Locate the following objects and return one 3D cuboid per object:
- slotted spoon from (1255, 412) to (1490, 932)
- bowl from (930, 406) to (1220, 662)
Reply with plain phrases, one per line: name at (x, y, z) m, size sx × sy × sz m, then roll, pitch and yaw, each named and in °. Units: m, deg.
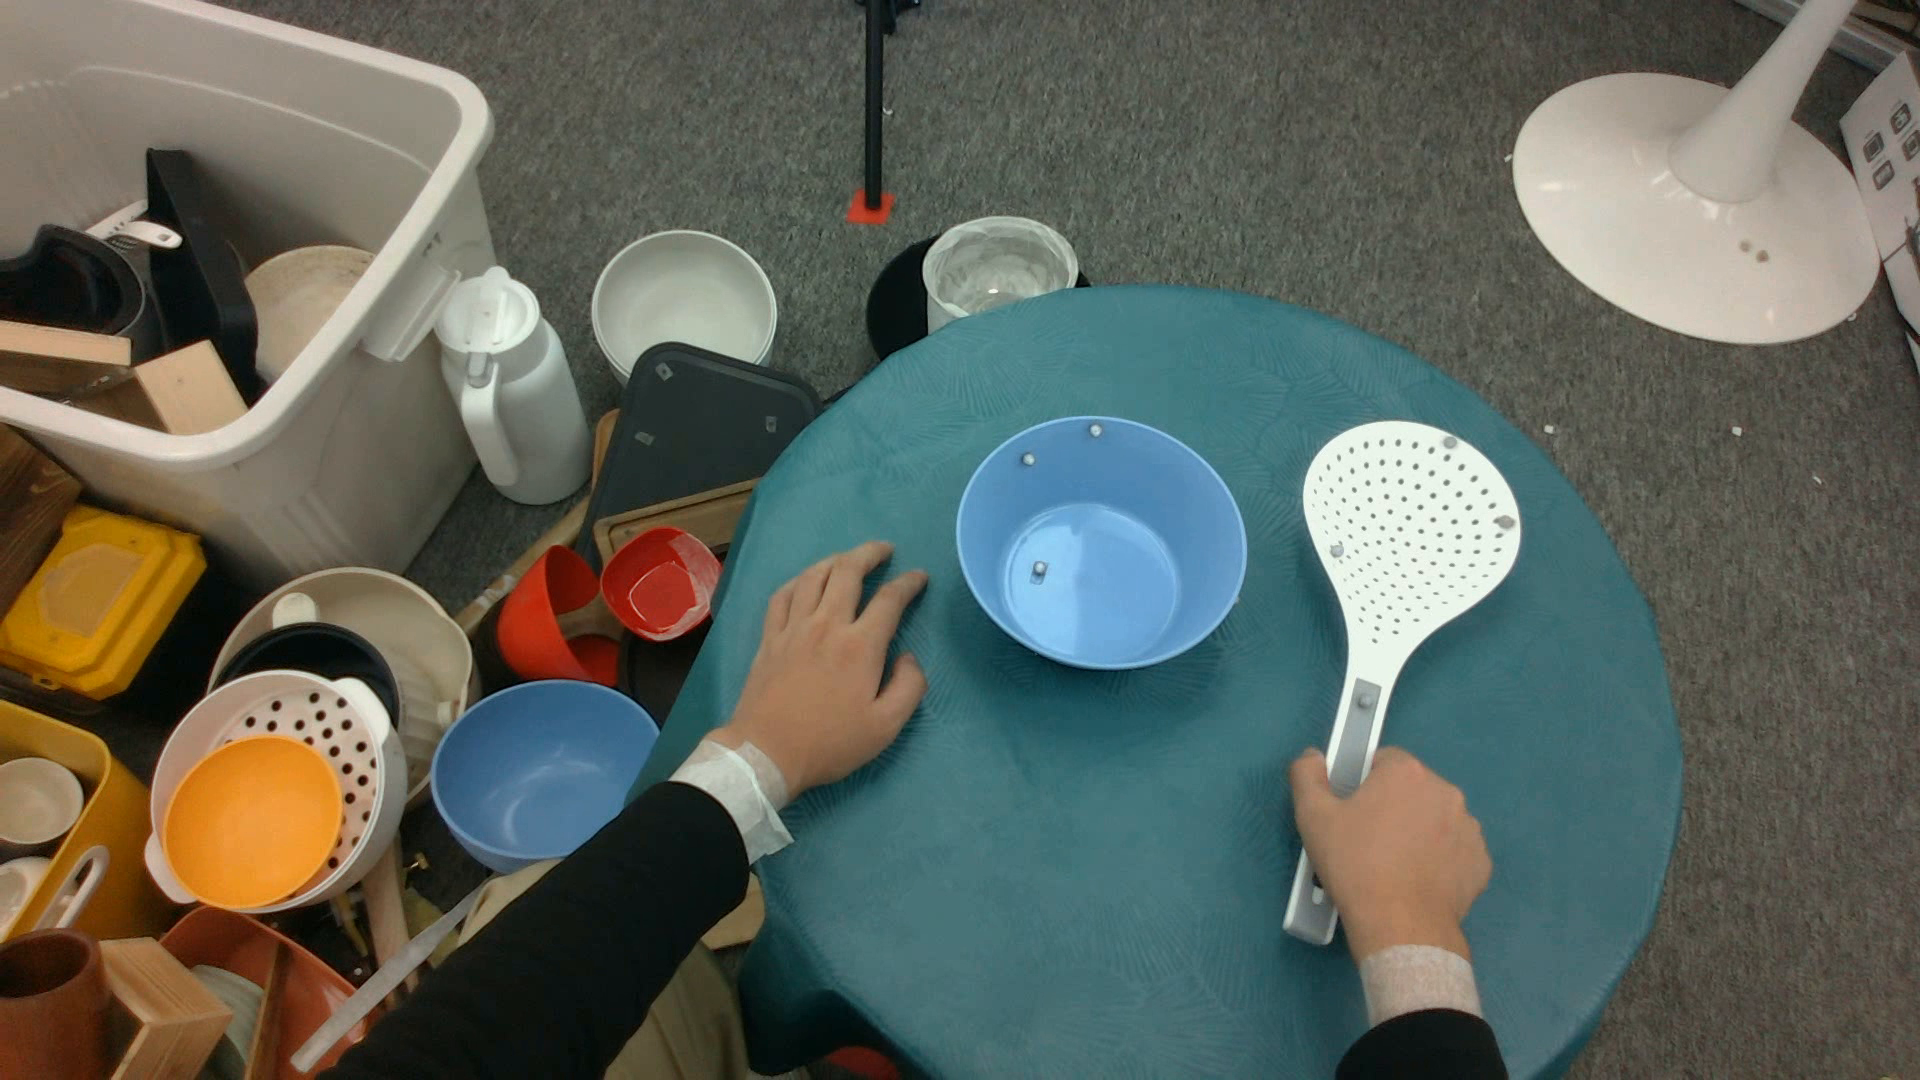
slotted spoon at (0.236, 0.069, 0.839) m, size 0.136 × 0.045 × 0.351 m, roll 20°, pitch 59°, yaw 4°
bowl at (0.068, 0.007, 0.853) m, size 0.176 × 0.070 × 0.177 m, roll 2°, pitch 61°, yaw -3°
